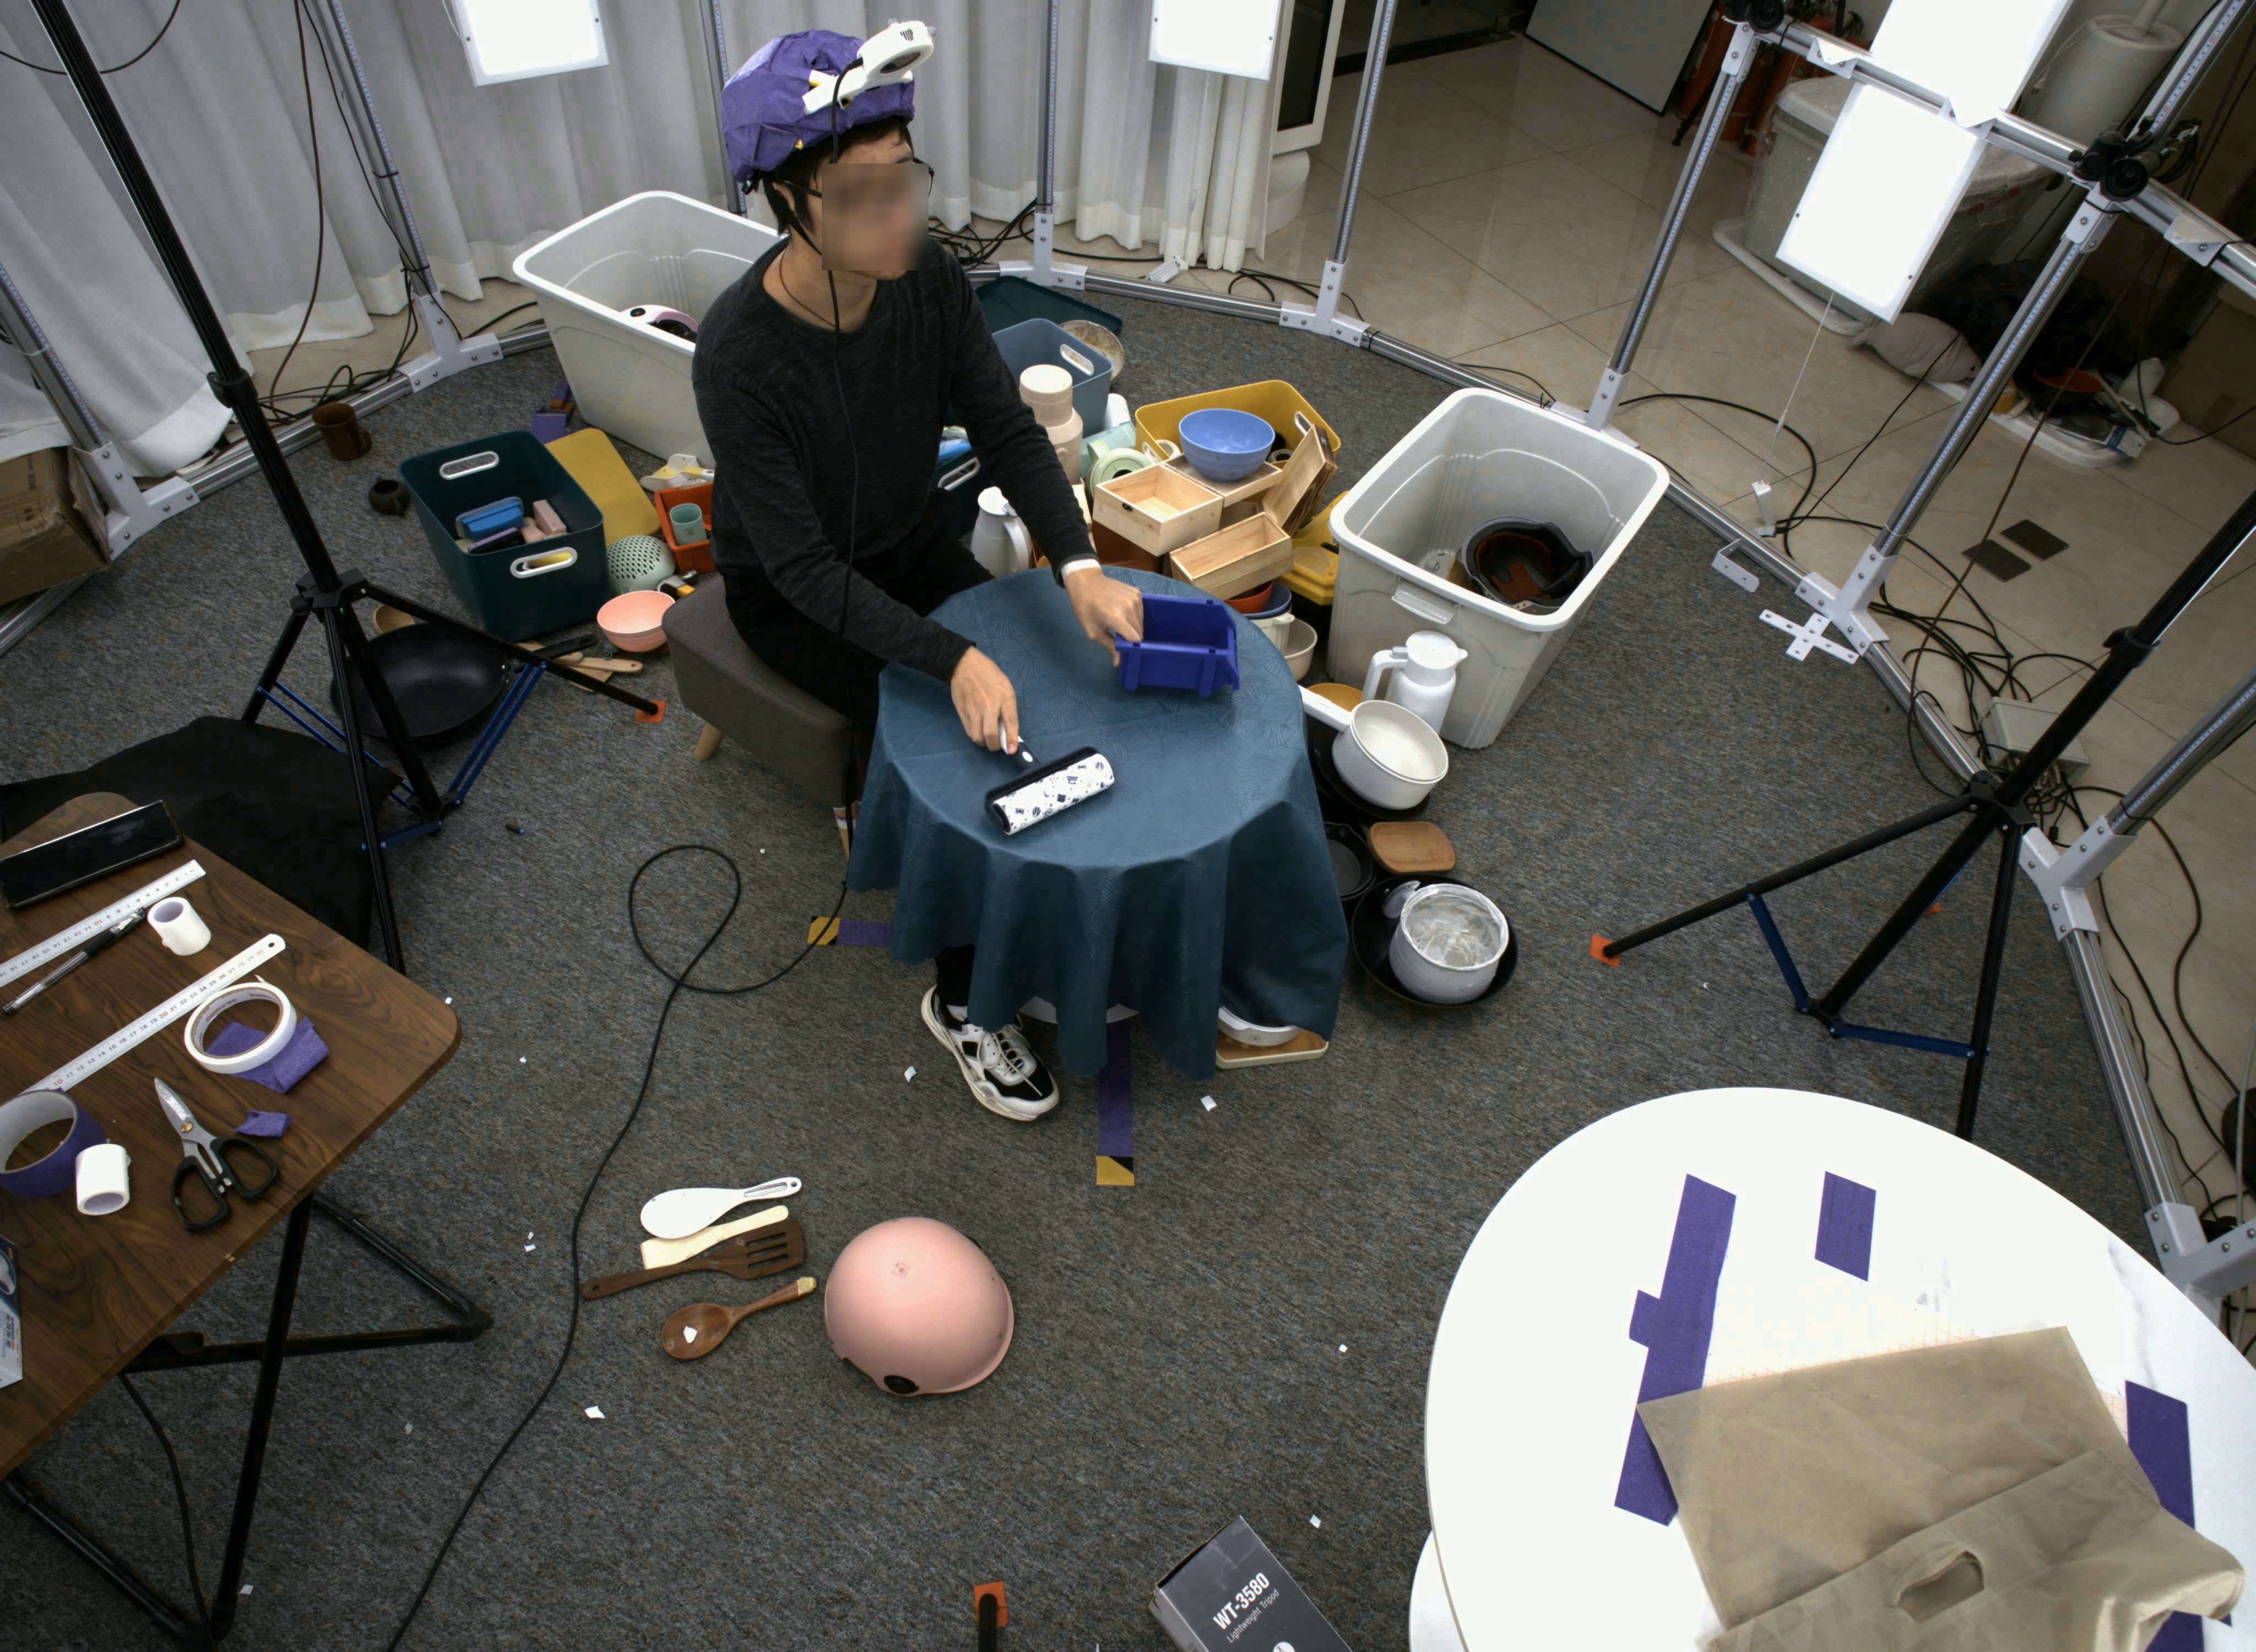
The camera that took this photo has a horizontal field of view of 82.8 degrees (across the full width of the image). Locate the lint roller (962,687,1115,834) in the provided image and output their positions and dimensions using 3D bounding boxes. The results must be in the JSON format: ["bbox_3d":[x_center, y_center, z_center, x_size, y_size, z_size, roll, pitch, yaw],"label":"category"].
[{"bbox_3d":[-0.156,-0.110,1.720,0.177,0.049,0.252,-27,58,-23],"label":"lint roller"}]

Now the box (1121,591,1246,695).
[{"bbox_3d":[0.080,-0.260,1.817,0.179,0.080,0.127,3,46,0],"label":"box"}]
